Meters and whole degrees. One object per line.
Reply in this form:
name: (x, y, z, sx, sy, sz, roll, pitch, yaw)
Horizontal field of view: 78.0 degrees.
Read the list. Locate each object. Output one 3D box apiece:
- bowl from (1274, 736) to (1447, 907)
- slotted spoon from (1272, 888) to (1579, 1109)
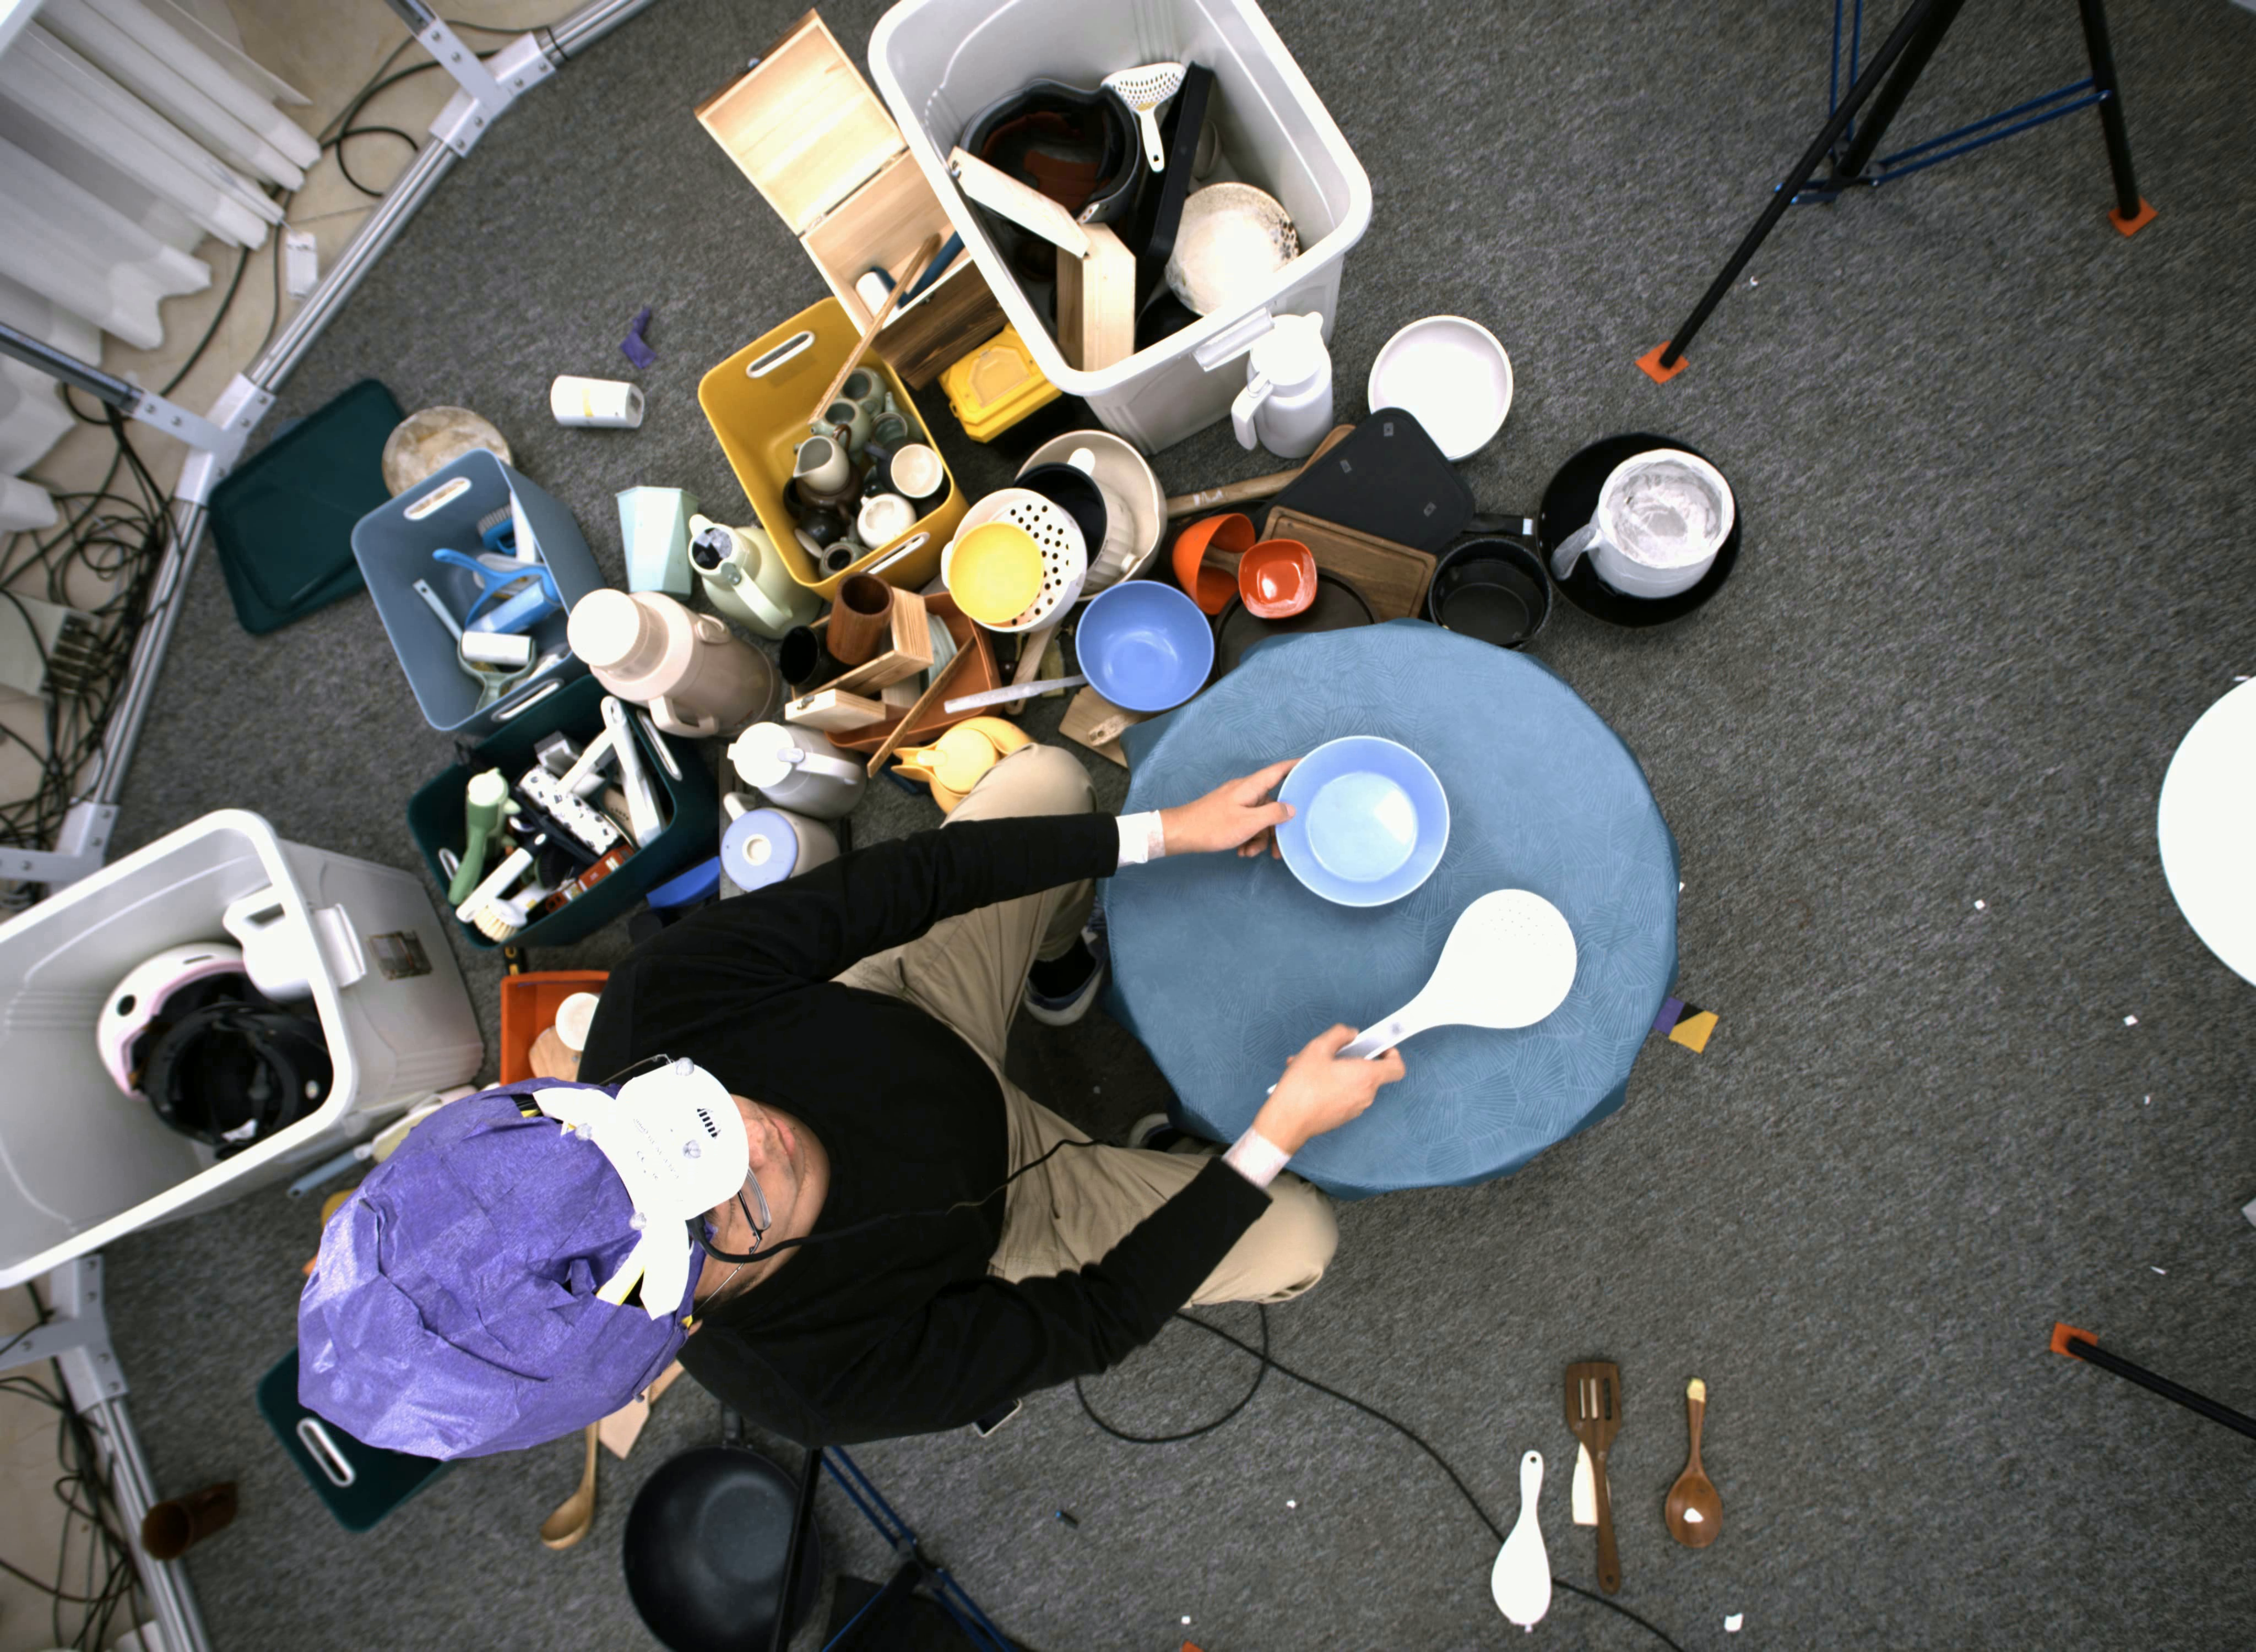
bowl: (0.241, -0.003, 1.434, 0.177, 0.070, 0.175, -1, 87, 11)
slotted spoon: (0.298, 0.182, 1.385, 0.347, 0.046, 0.136, -30, 91, -10)
